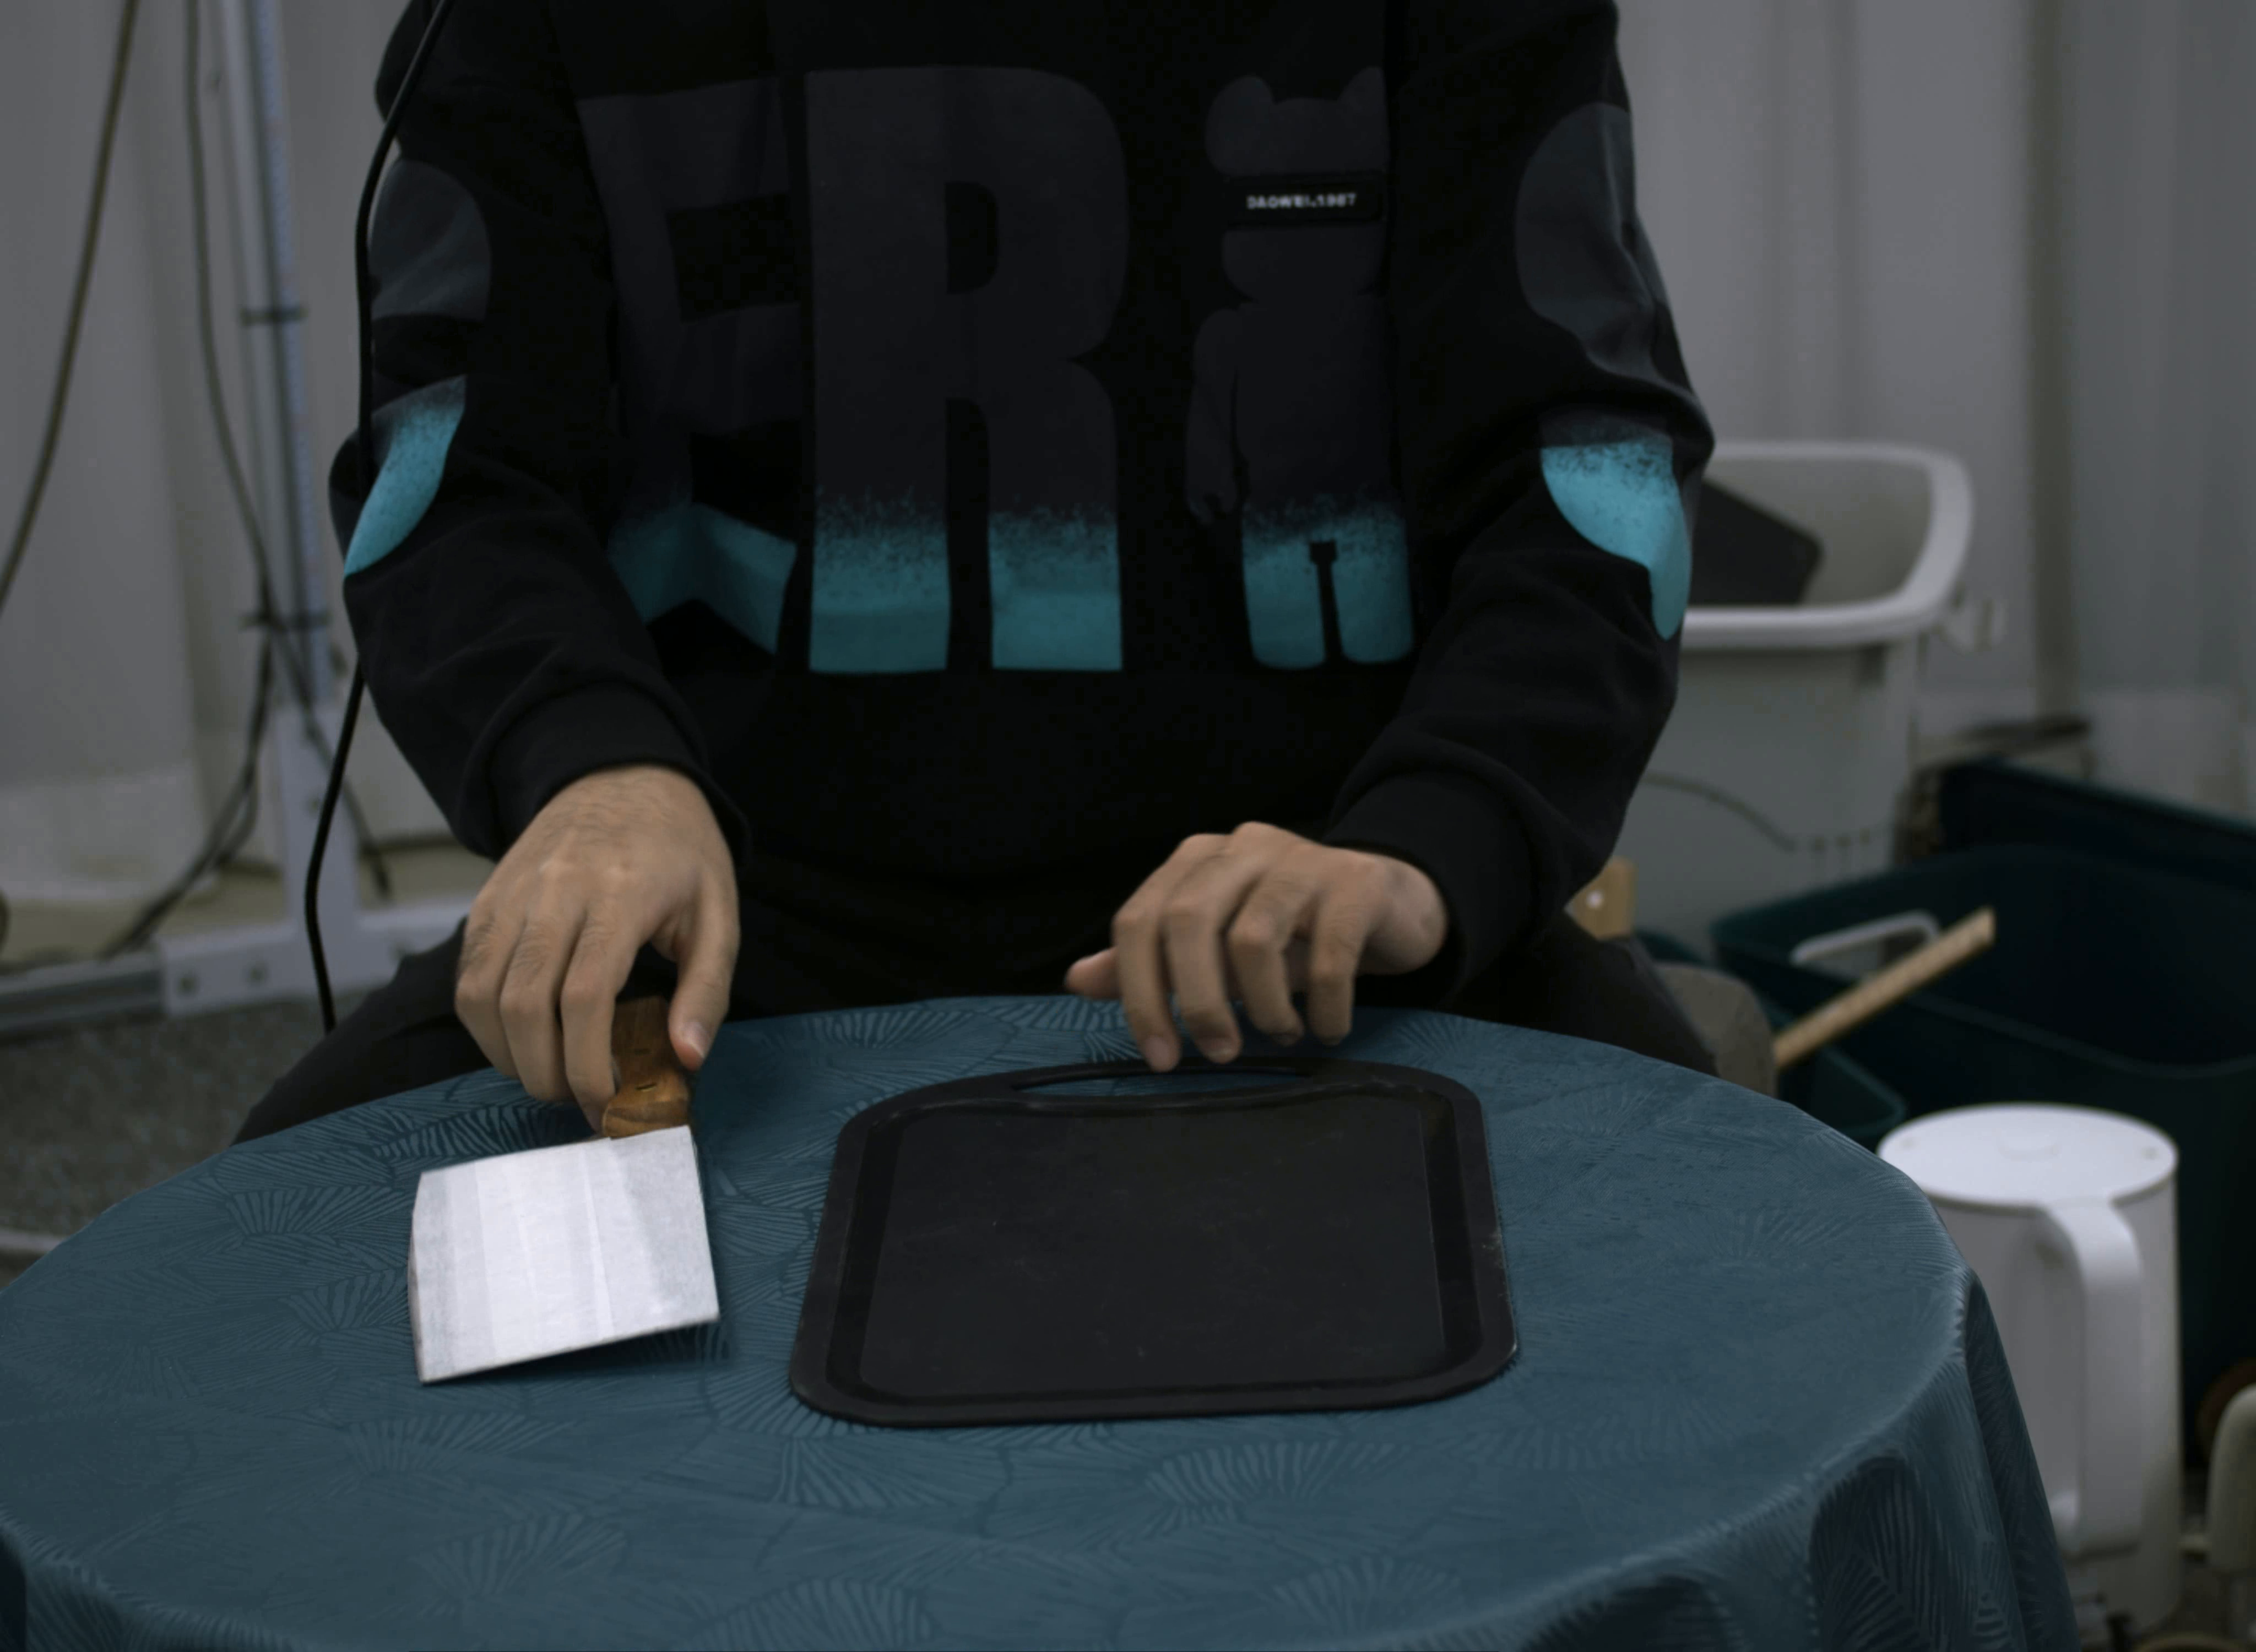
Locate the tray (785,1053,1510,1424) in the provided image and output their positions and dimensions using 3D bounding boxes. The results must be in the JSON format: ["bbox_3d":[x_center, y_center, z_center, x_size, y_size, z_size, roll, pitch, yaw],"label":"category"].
[{"bbox_3d":[0.008,0.120,1.679,0.210,0.010,0.327,-2,15,2],"label":"tray"}]

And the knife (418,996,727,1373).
[{"bbox_3d":[-0.178,0.112,1.726,0.092,0.021,0.308,-10,17,-4],"label":"knife"}]
